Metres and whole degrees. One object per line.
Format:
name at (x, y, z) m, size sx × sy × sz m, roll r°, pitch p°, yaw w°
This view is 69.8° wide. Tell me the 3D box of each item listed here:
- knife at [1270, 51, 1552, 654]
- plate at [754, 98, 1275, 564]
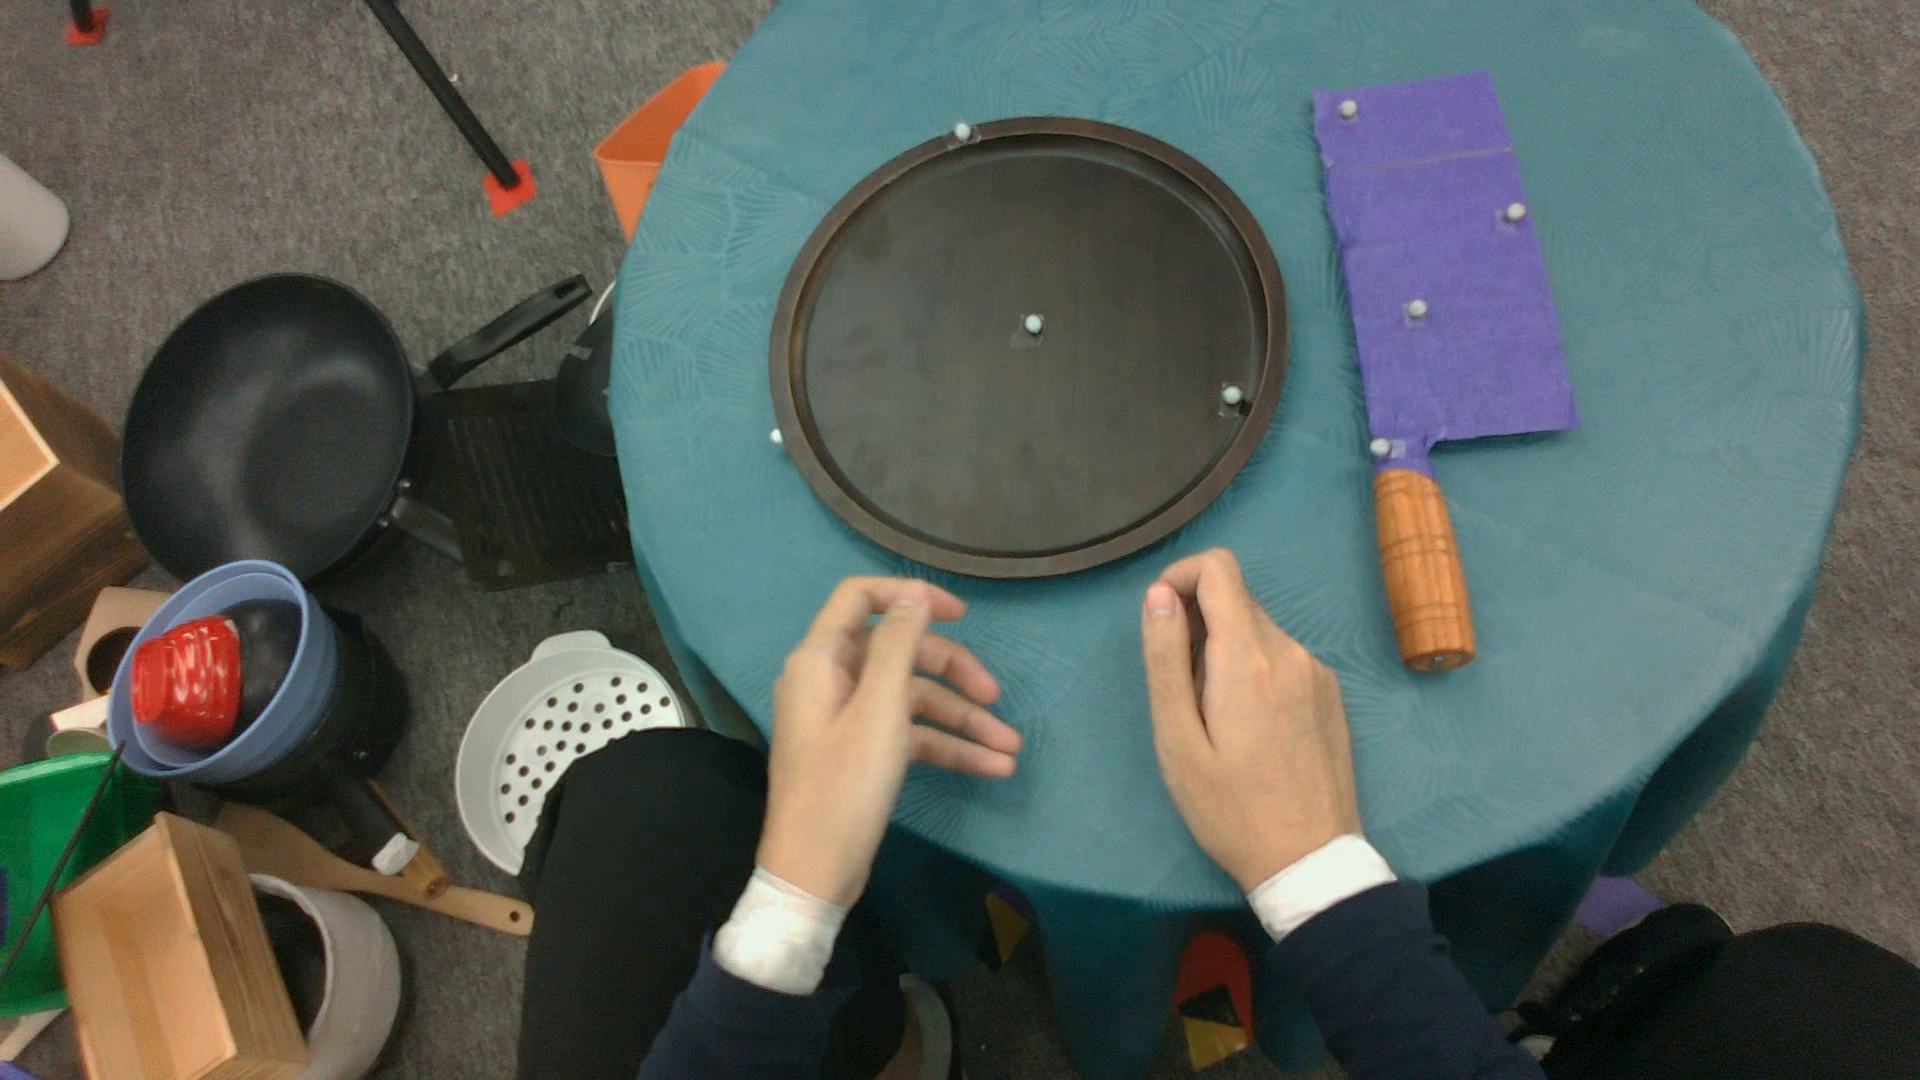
knife at (0.219, -0.104, 0.640) m, size 0.104 × 0.032 × 0.316 m, roll -7°, pitch 67°, yaw 6°
plate at (0.024, -0.106, 0.672) m, size 0.254 × 0.029 × 0.255 m, roll -3°, pitch 68°, yaw 8°
